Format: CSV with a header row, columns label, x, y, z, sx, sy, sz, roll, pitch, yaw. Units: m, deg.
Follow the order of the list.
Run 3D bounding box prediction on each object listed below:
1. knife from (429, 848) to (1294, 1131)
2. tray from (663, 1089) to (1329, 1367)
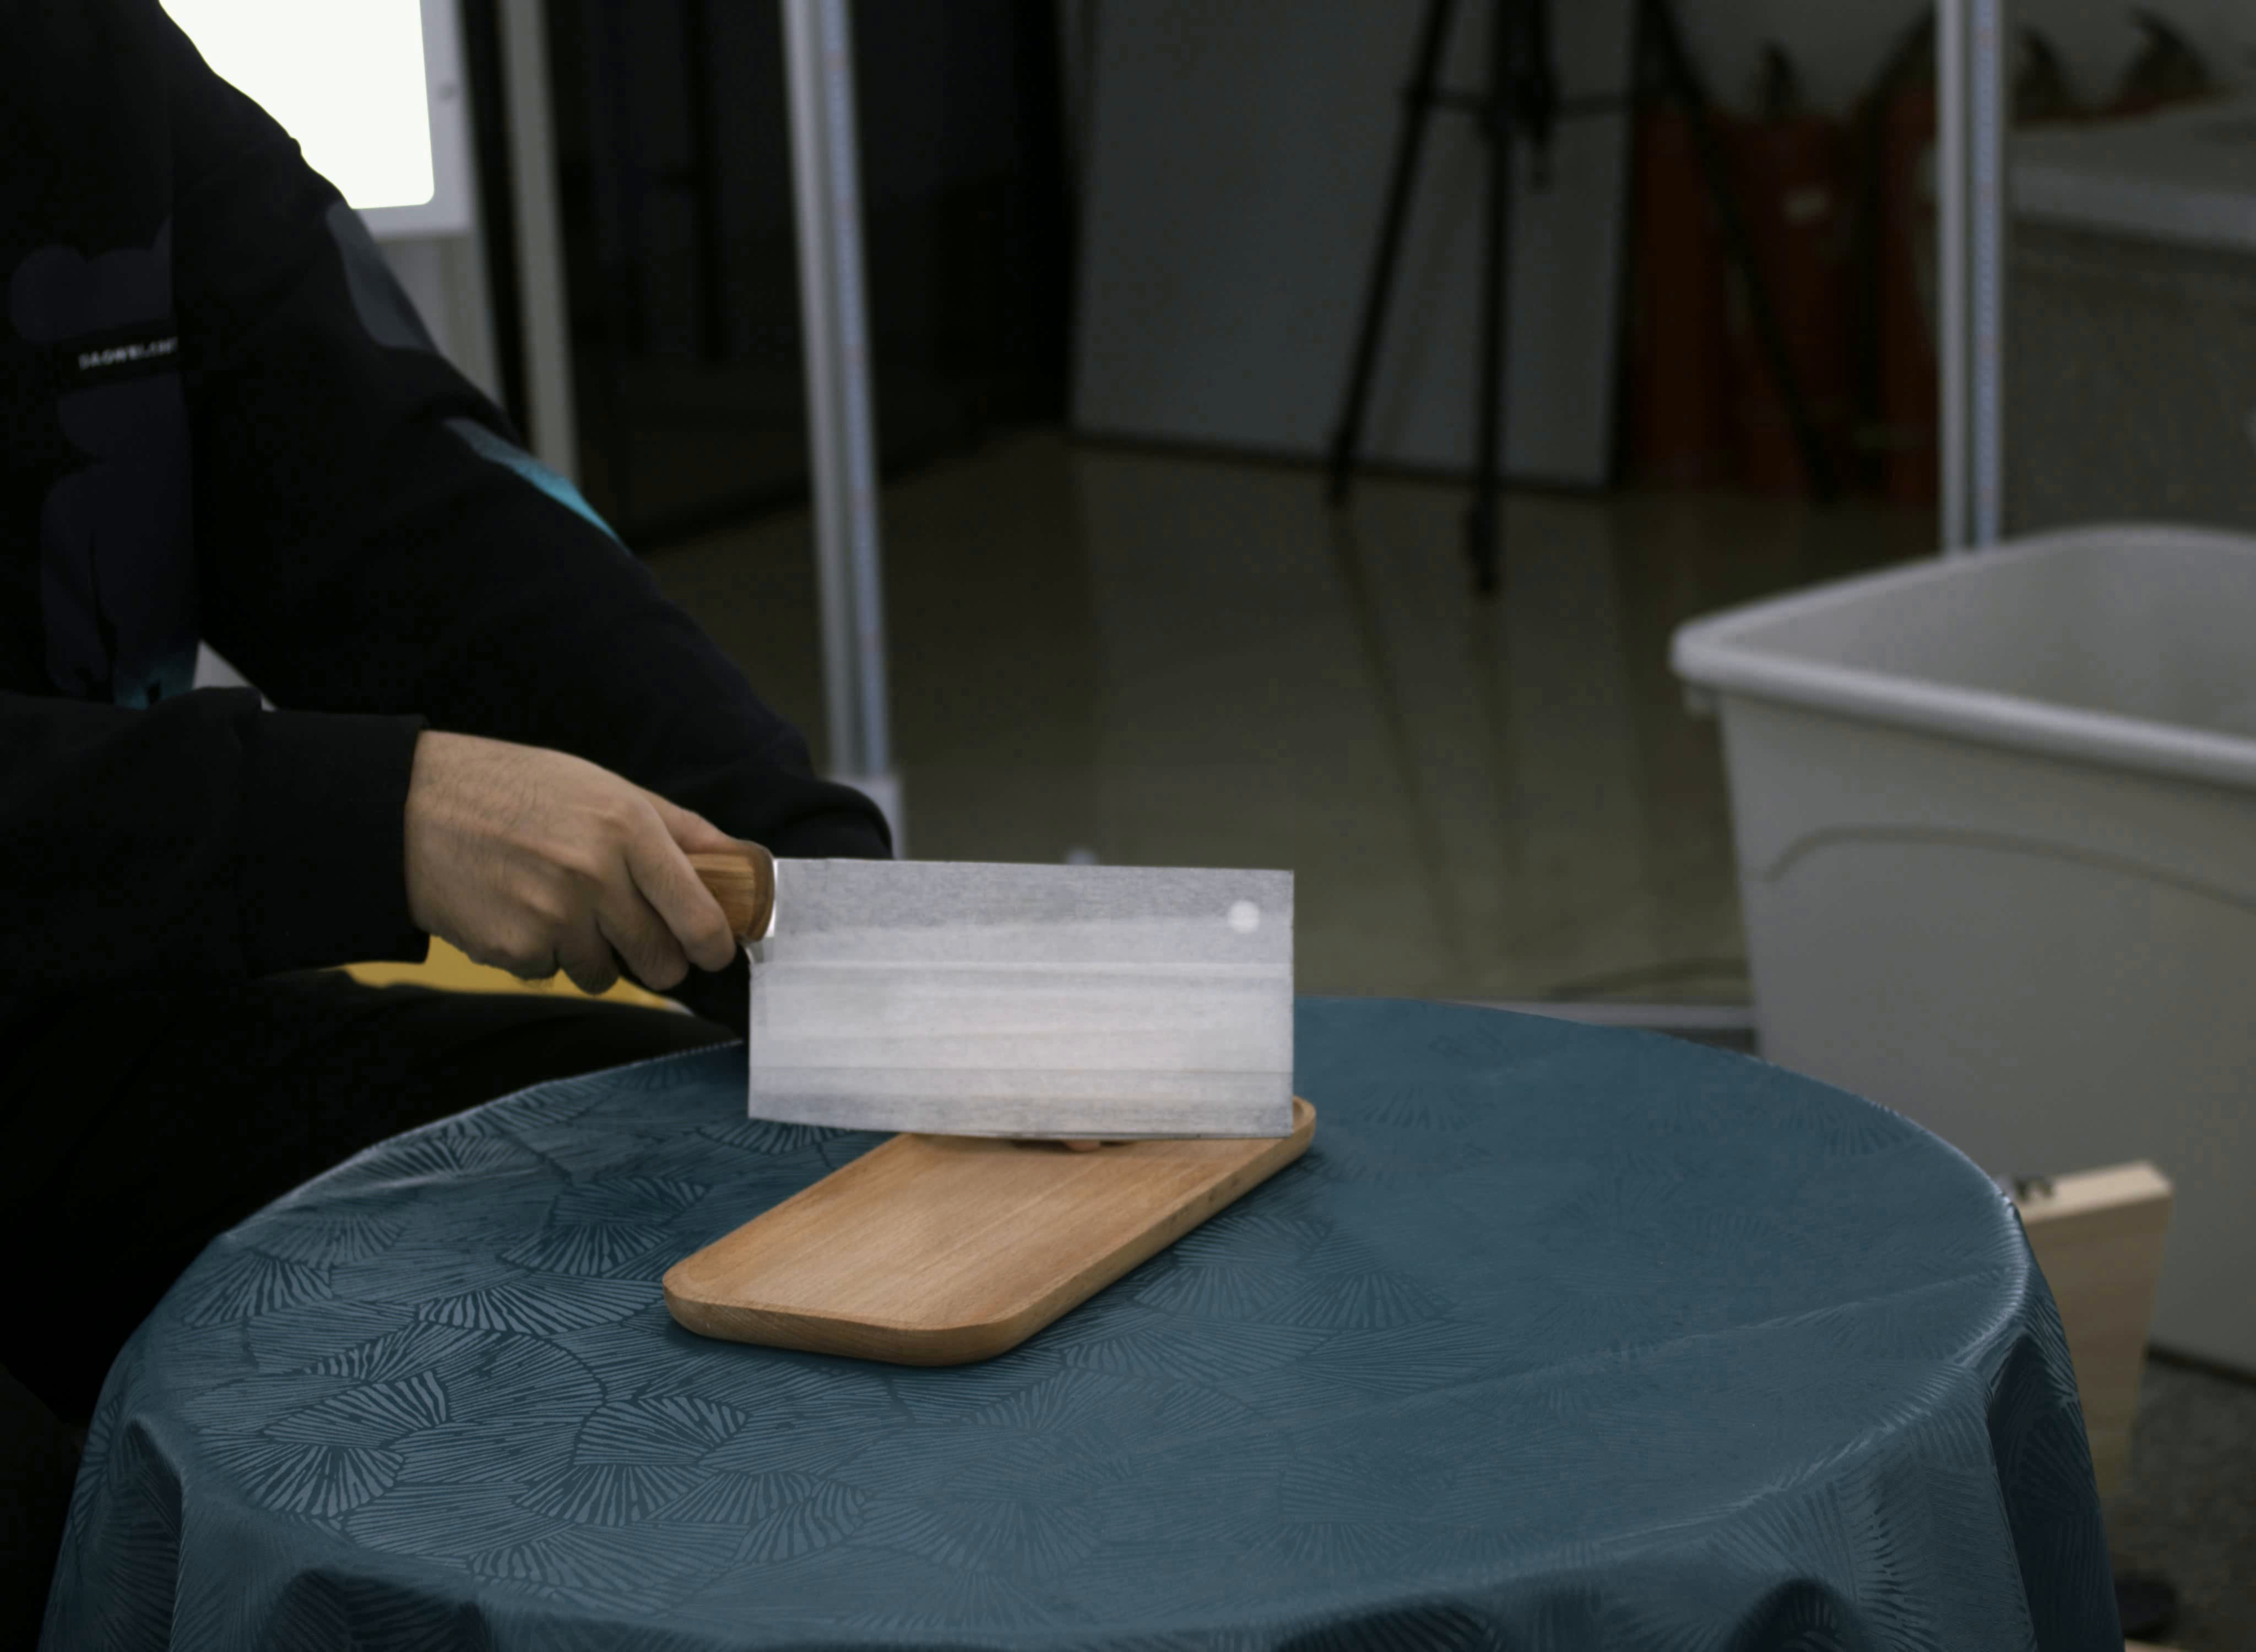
label,x,y,z,sx,sy,sz,roll,pitch,yaw
knife,-0.091,0.055,1.802,0.305,0.094,0.021,1,4,17
tray,-0.038,0.125,1.734,0.131,0.023,0.247,6,16,30
